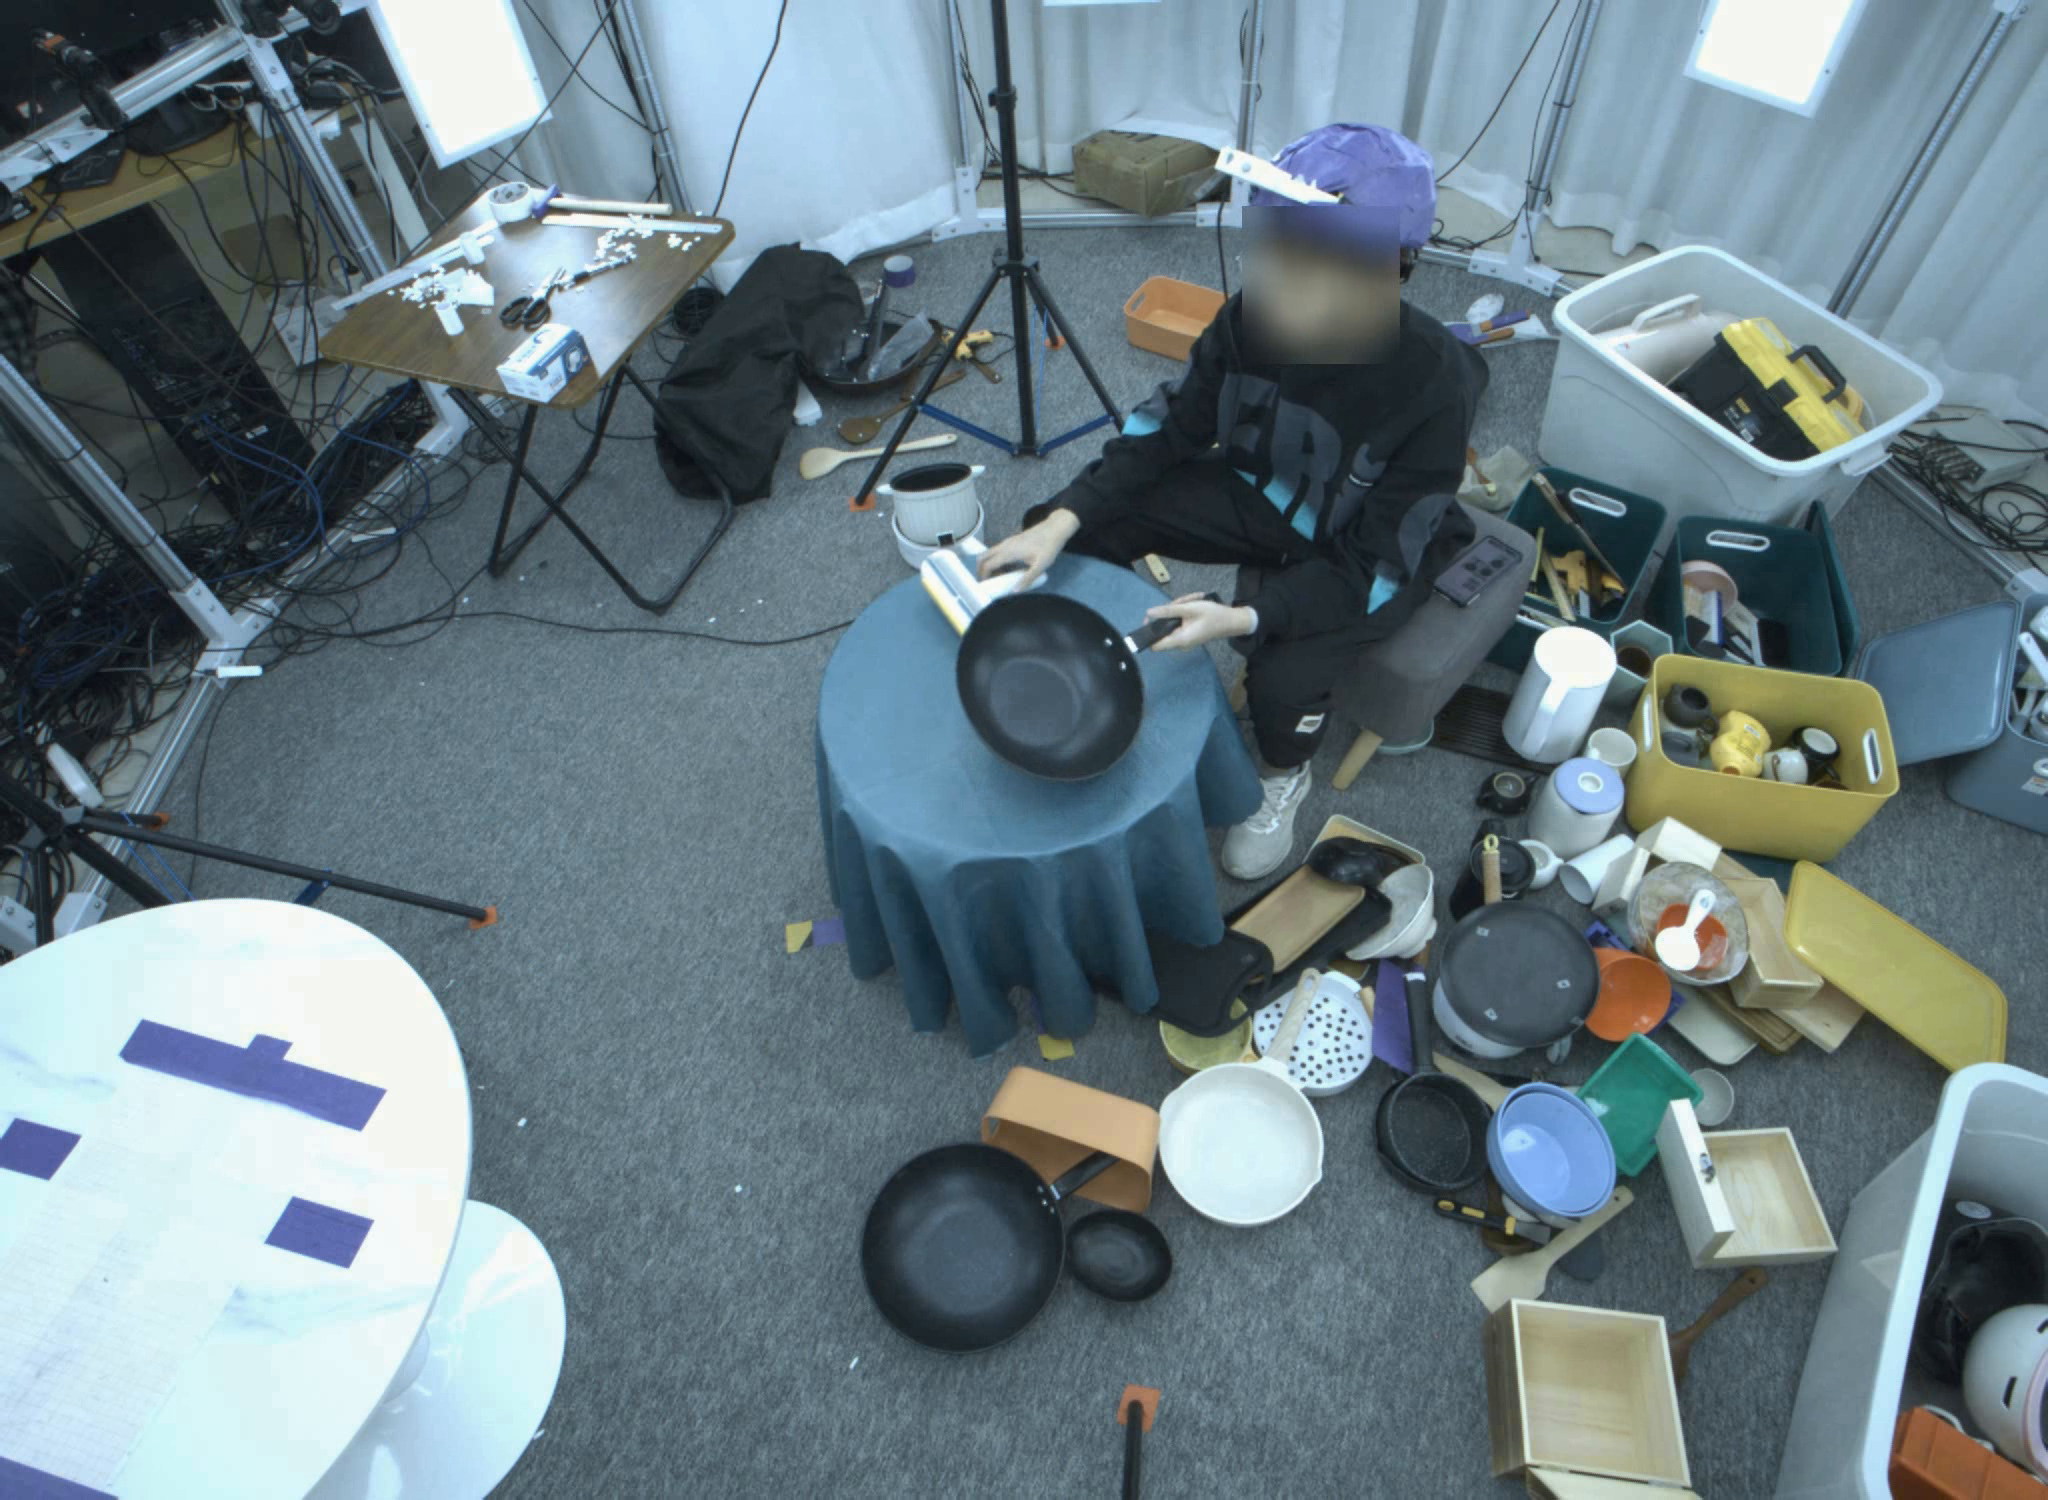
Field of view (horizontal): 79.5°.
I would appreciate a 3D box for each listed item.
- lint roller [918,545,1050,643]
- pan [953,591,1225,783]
[{"bbox_3d":[-0.047,-0.257,1.925,0.194,0.075,0.189,-26,63,-17],"label":"lint roller"},{"bbox_3d":[0.097,-0.118,1.766,0.468,0.086,0.287,-29,85,-27],"label":"pan"}]
